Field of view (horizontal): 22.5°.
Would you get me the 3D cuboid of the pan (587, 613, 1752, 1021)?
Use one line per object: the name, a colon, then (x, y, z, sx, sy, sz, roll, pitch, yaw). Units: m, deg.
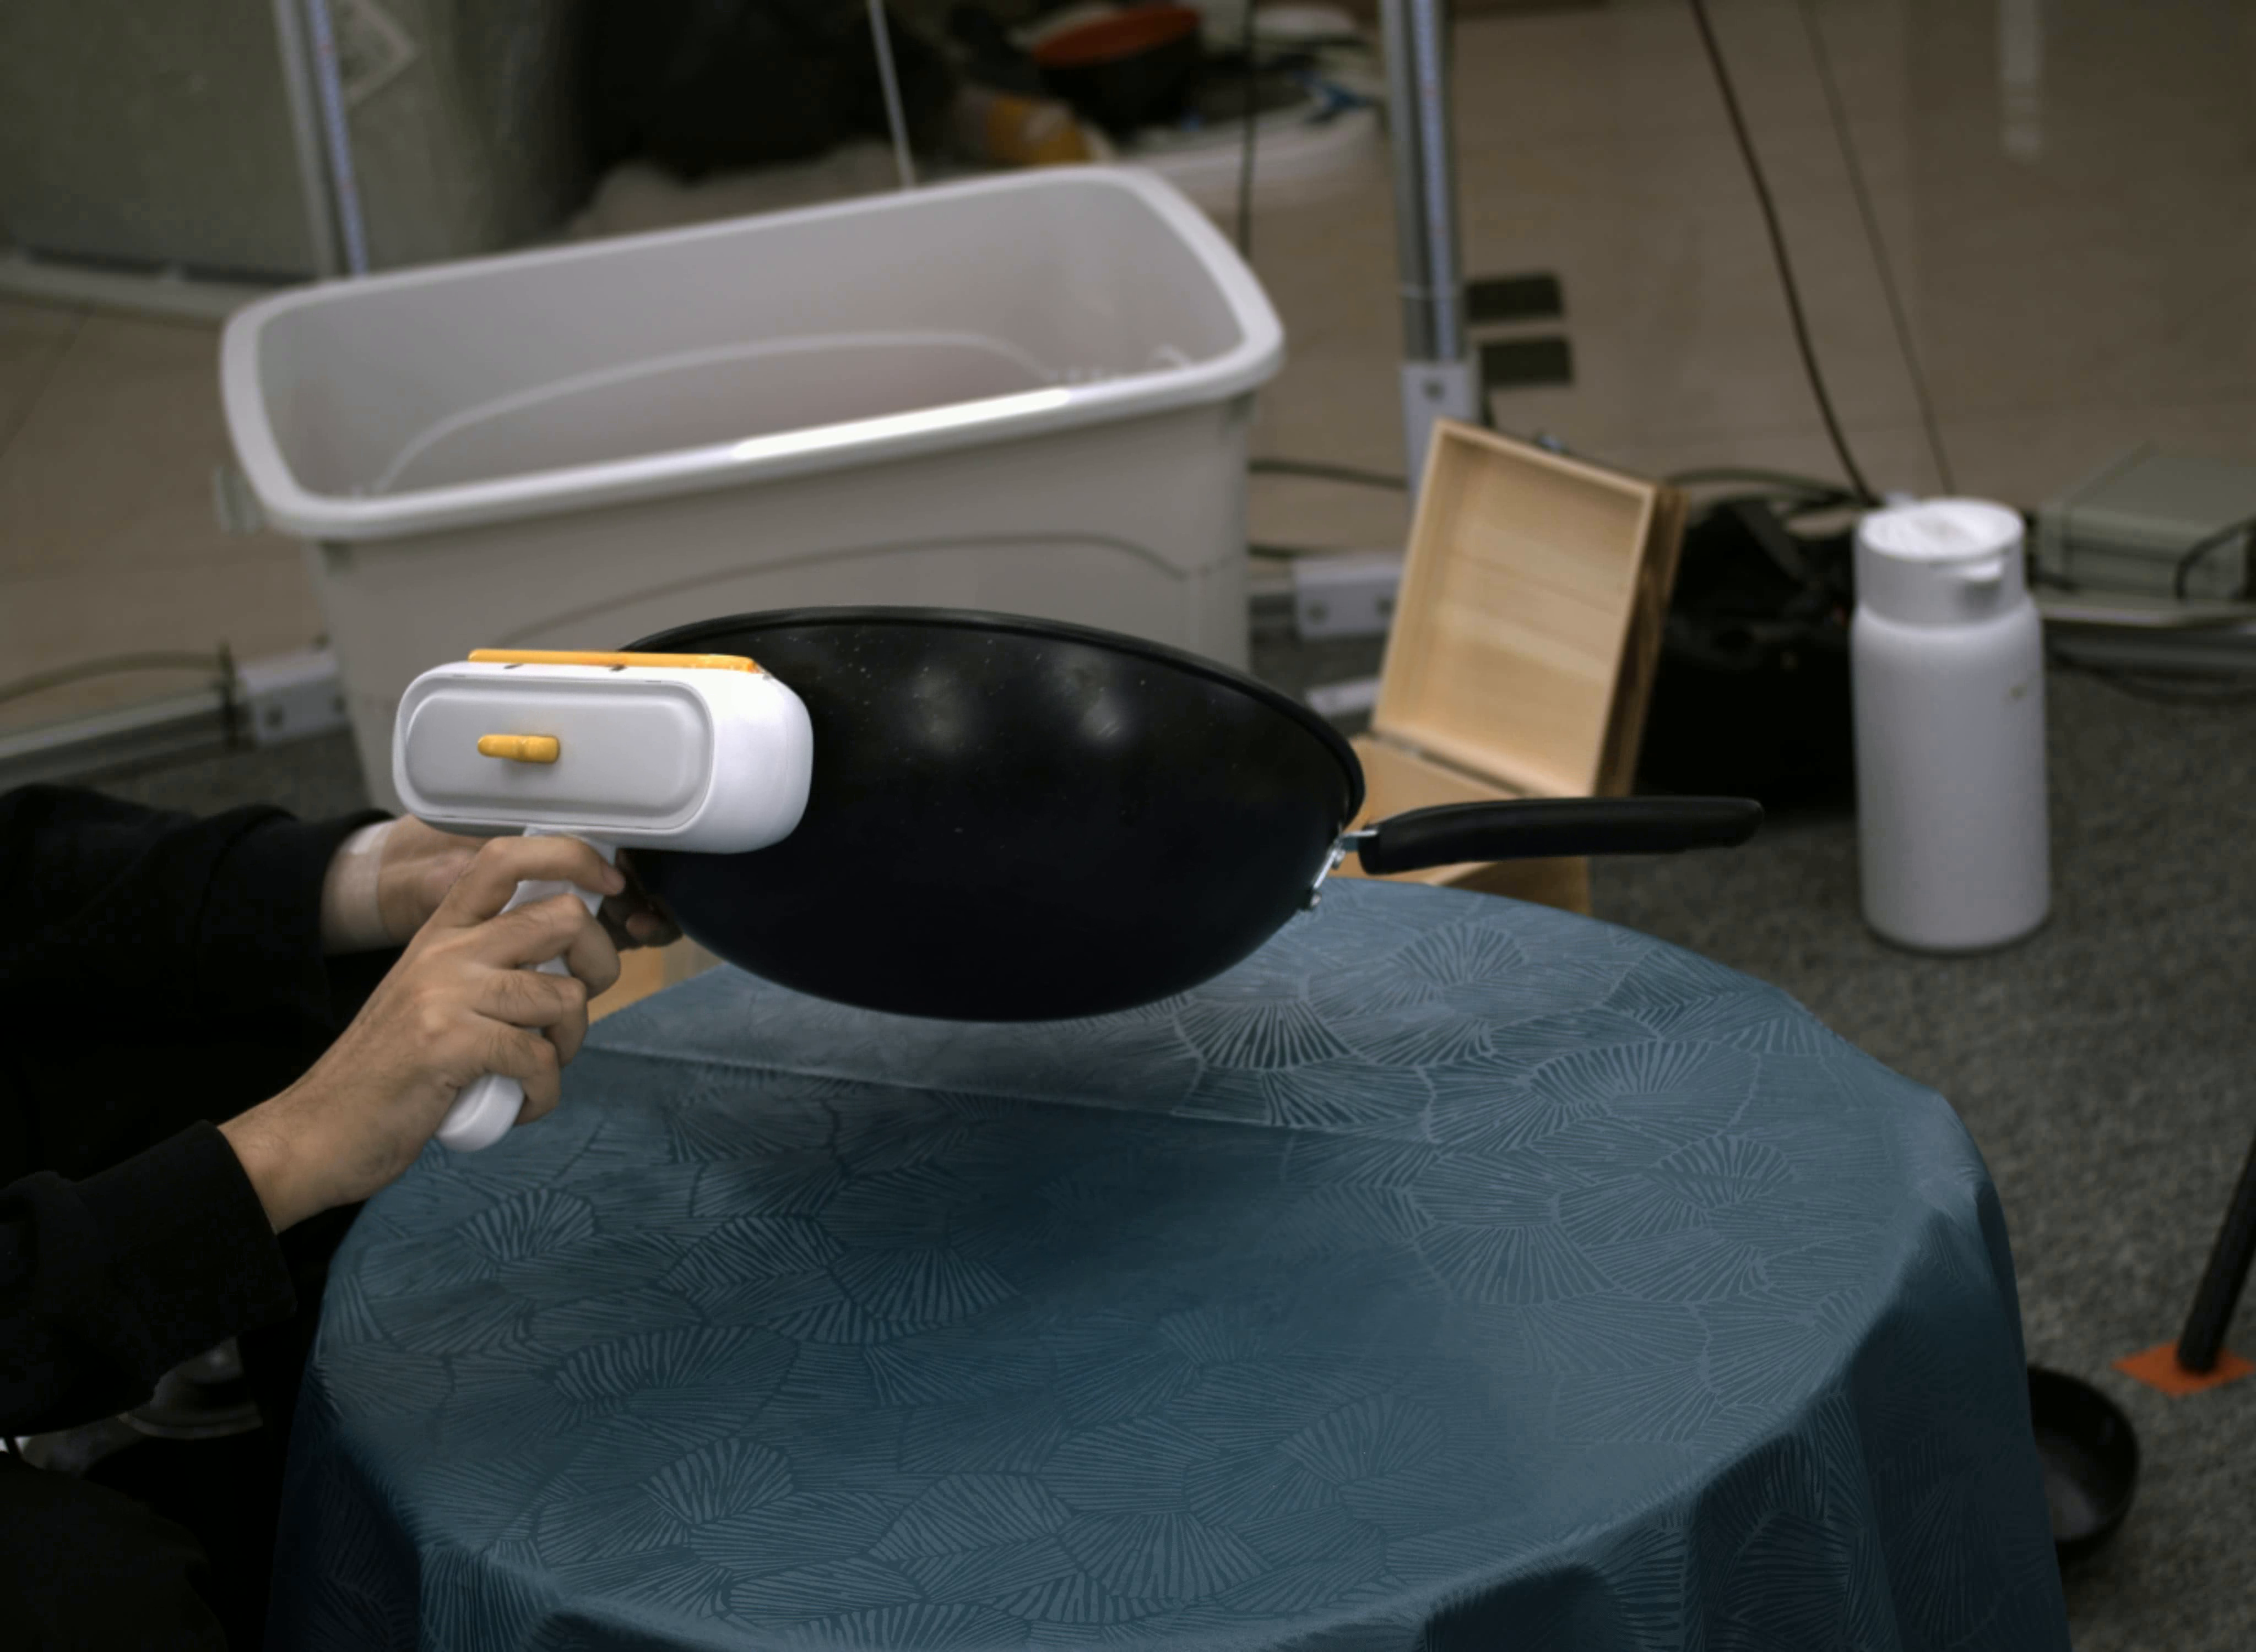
pan: (0.010, 0.012, 2.175, 0.477, 0.110, 0.313, 8, -18, -12)

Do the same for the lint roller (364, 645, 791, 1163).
lint roller: (-0.213, 0.029, 2.044, 0.192, 0.192, 0.074, 1, -10, 38)
